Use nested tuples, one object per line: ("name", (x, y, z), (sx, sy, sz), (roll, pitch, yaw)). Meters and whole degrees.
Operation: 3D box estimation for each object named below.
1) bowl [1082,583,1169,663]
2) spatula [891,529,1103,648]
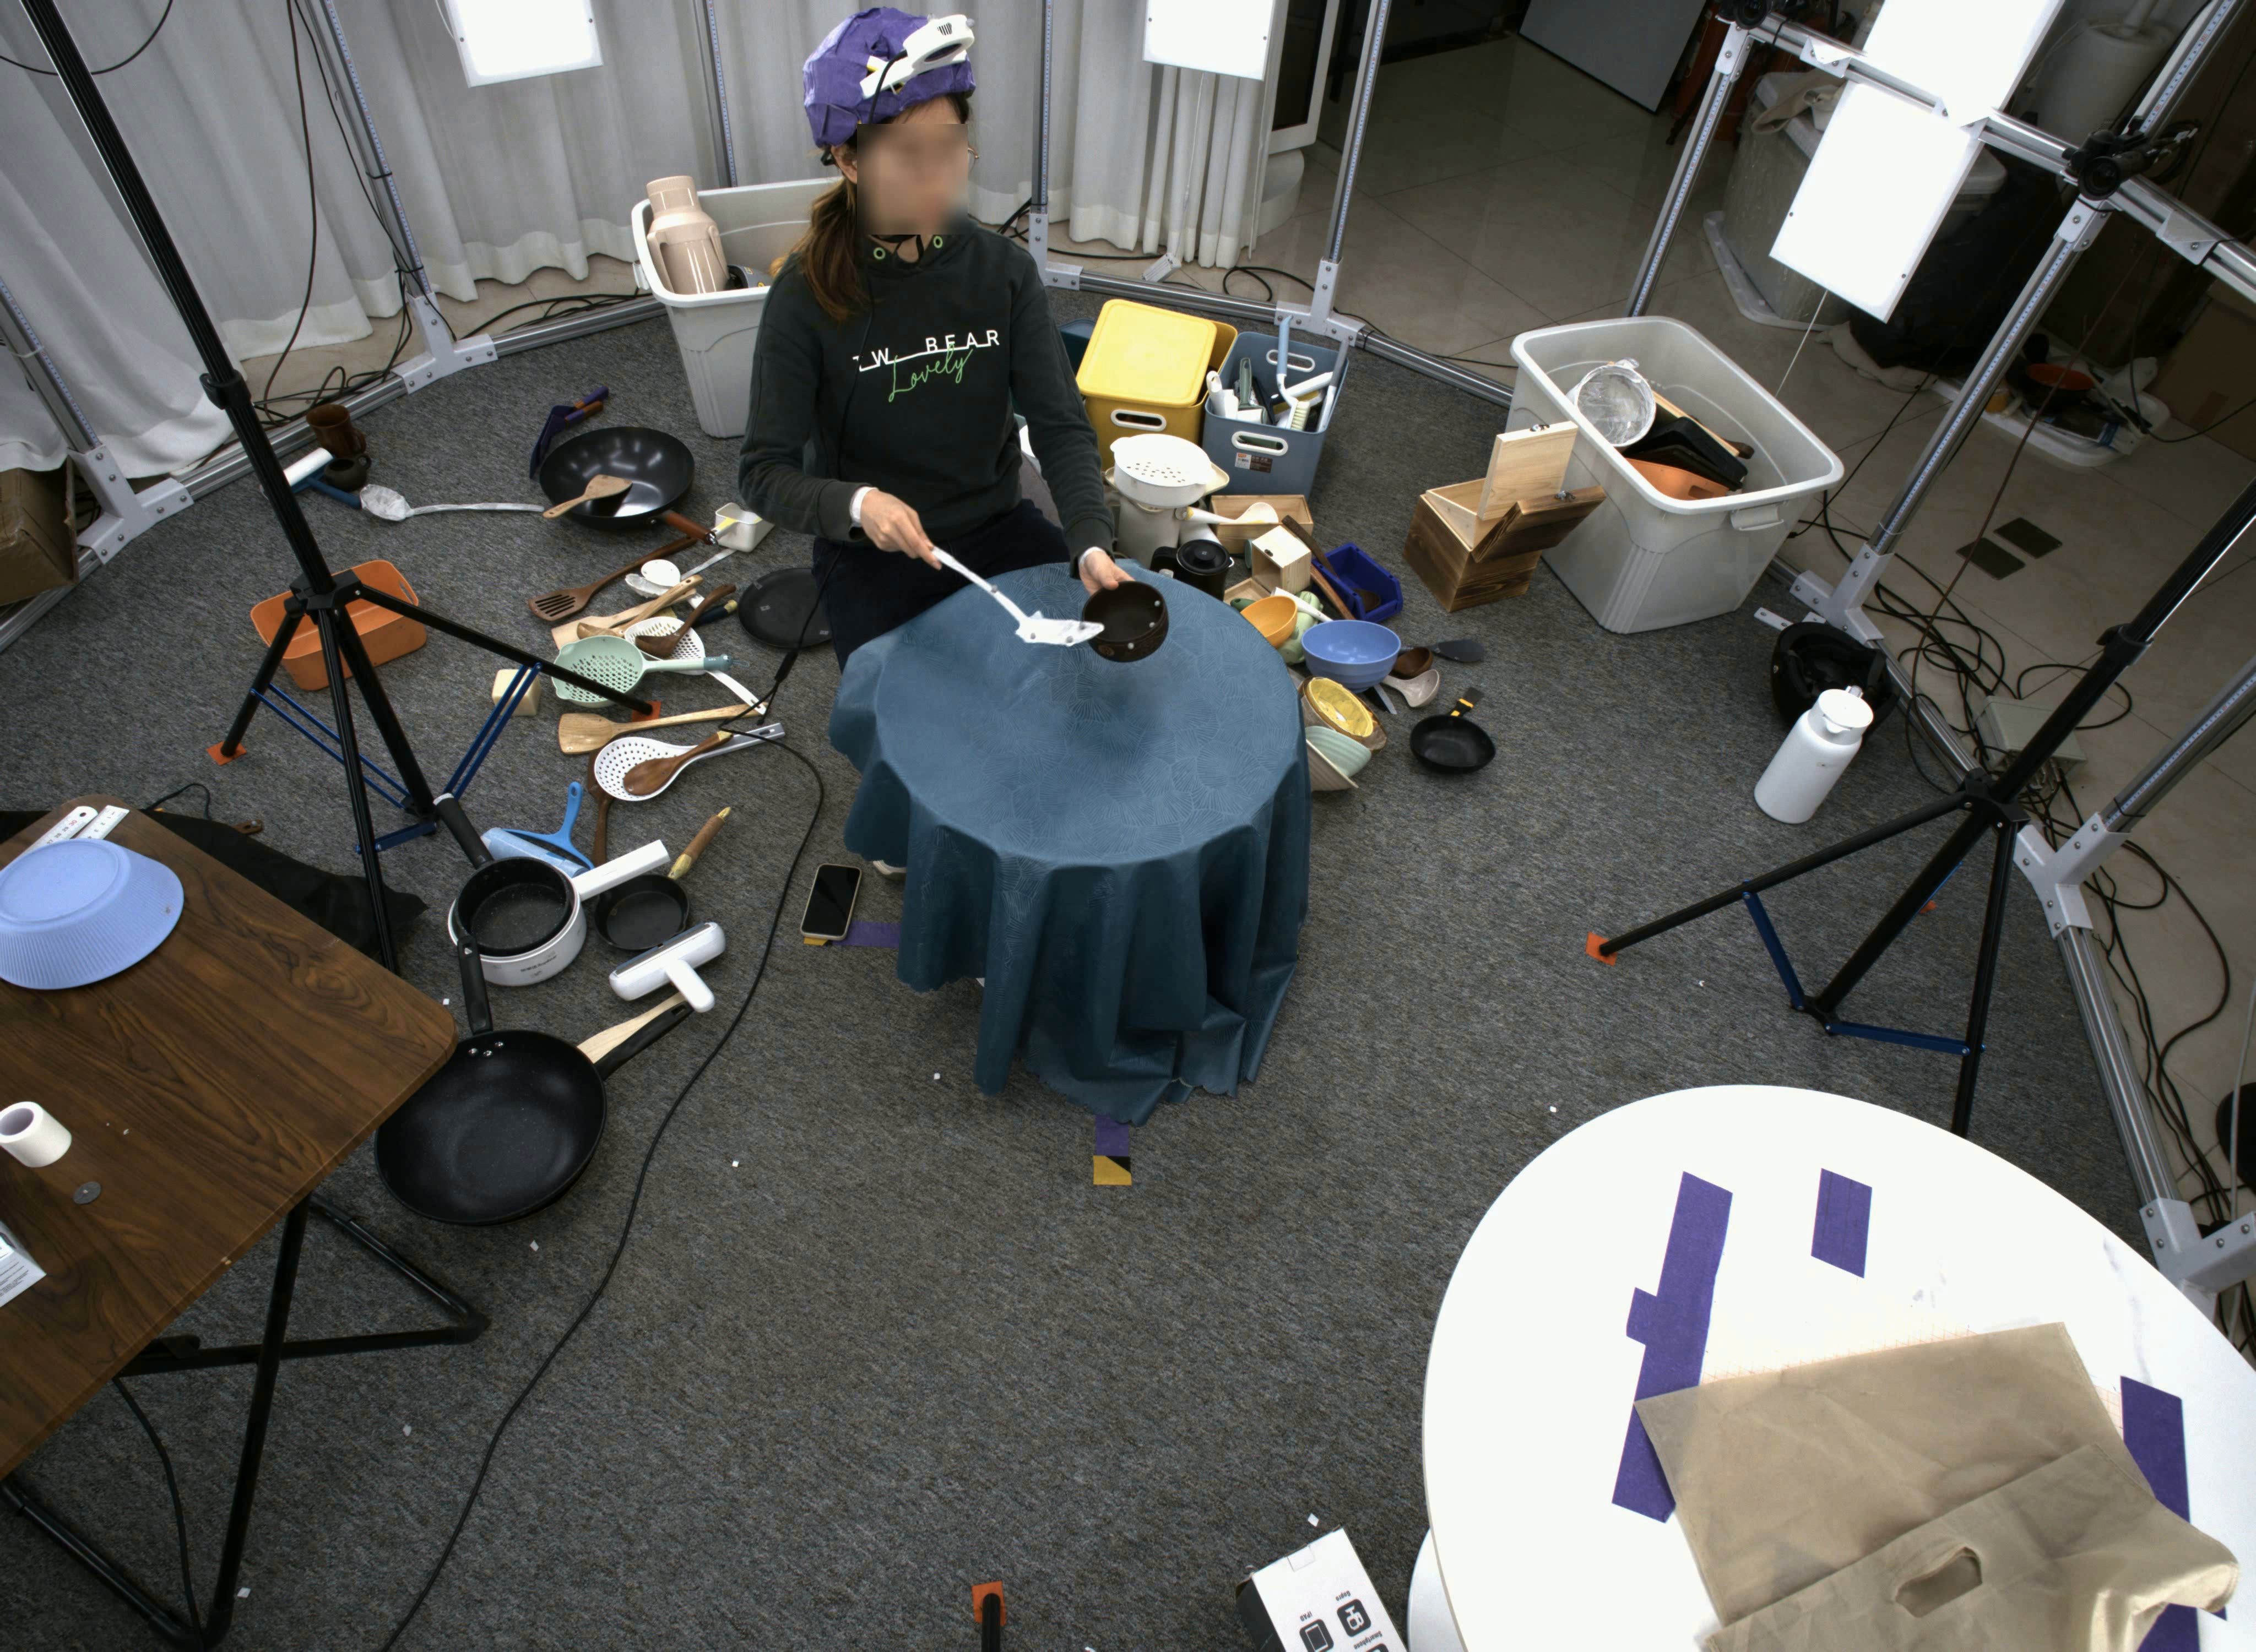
("bowl", (-0.001, -0.271, 1.768), (0.118, 0.068, 0.121), (-6, 51, 6))
("spatula", (-0.191, -0.321, 1.708), (0.369, 0.044, 0.099), (37, 42, 22))
